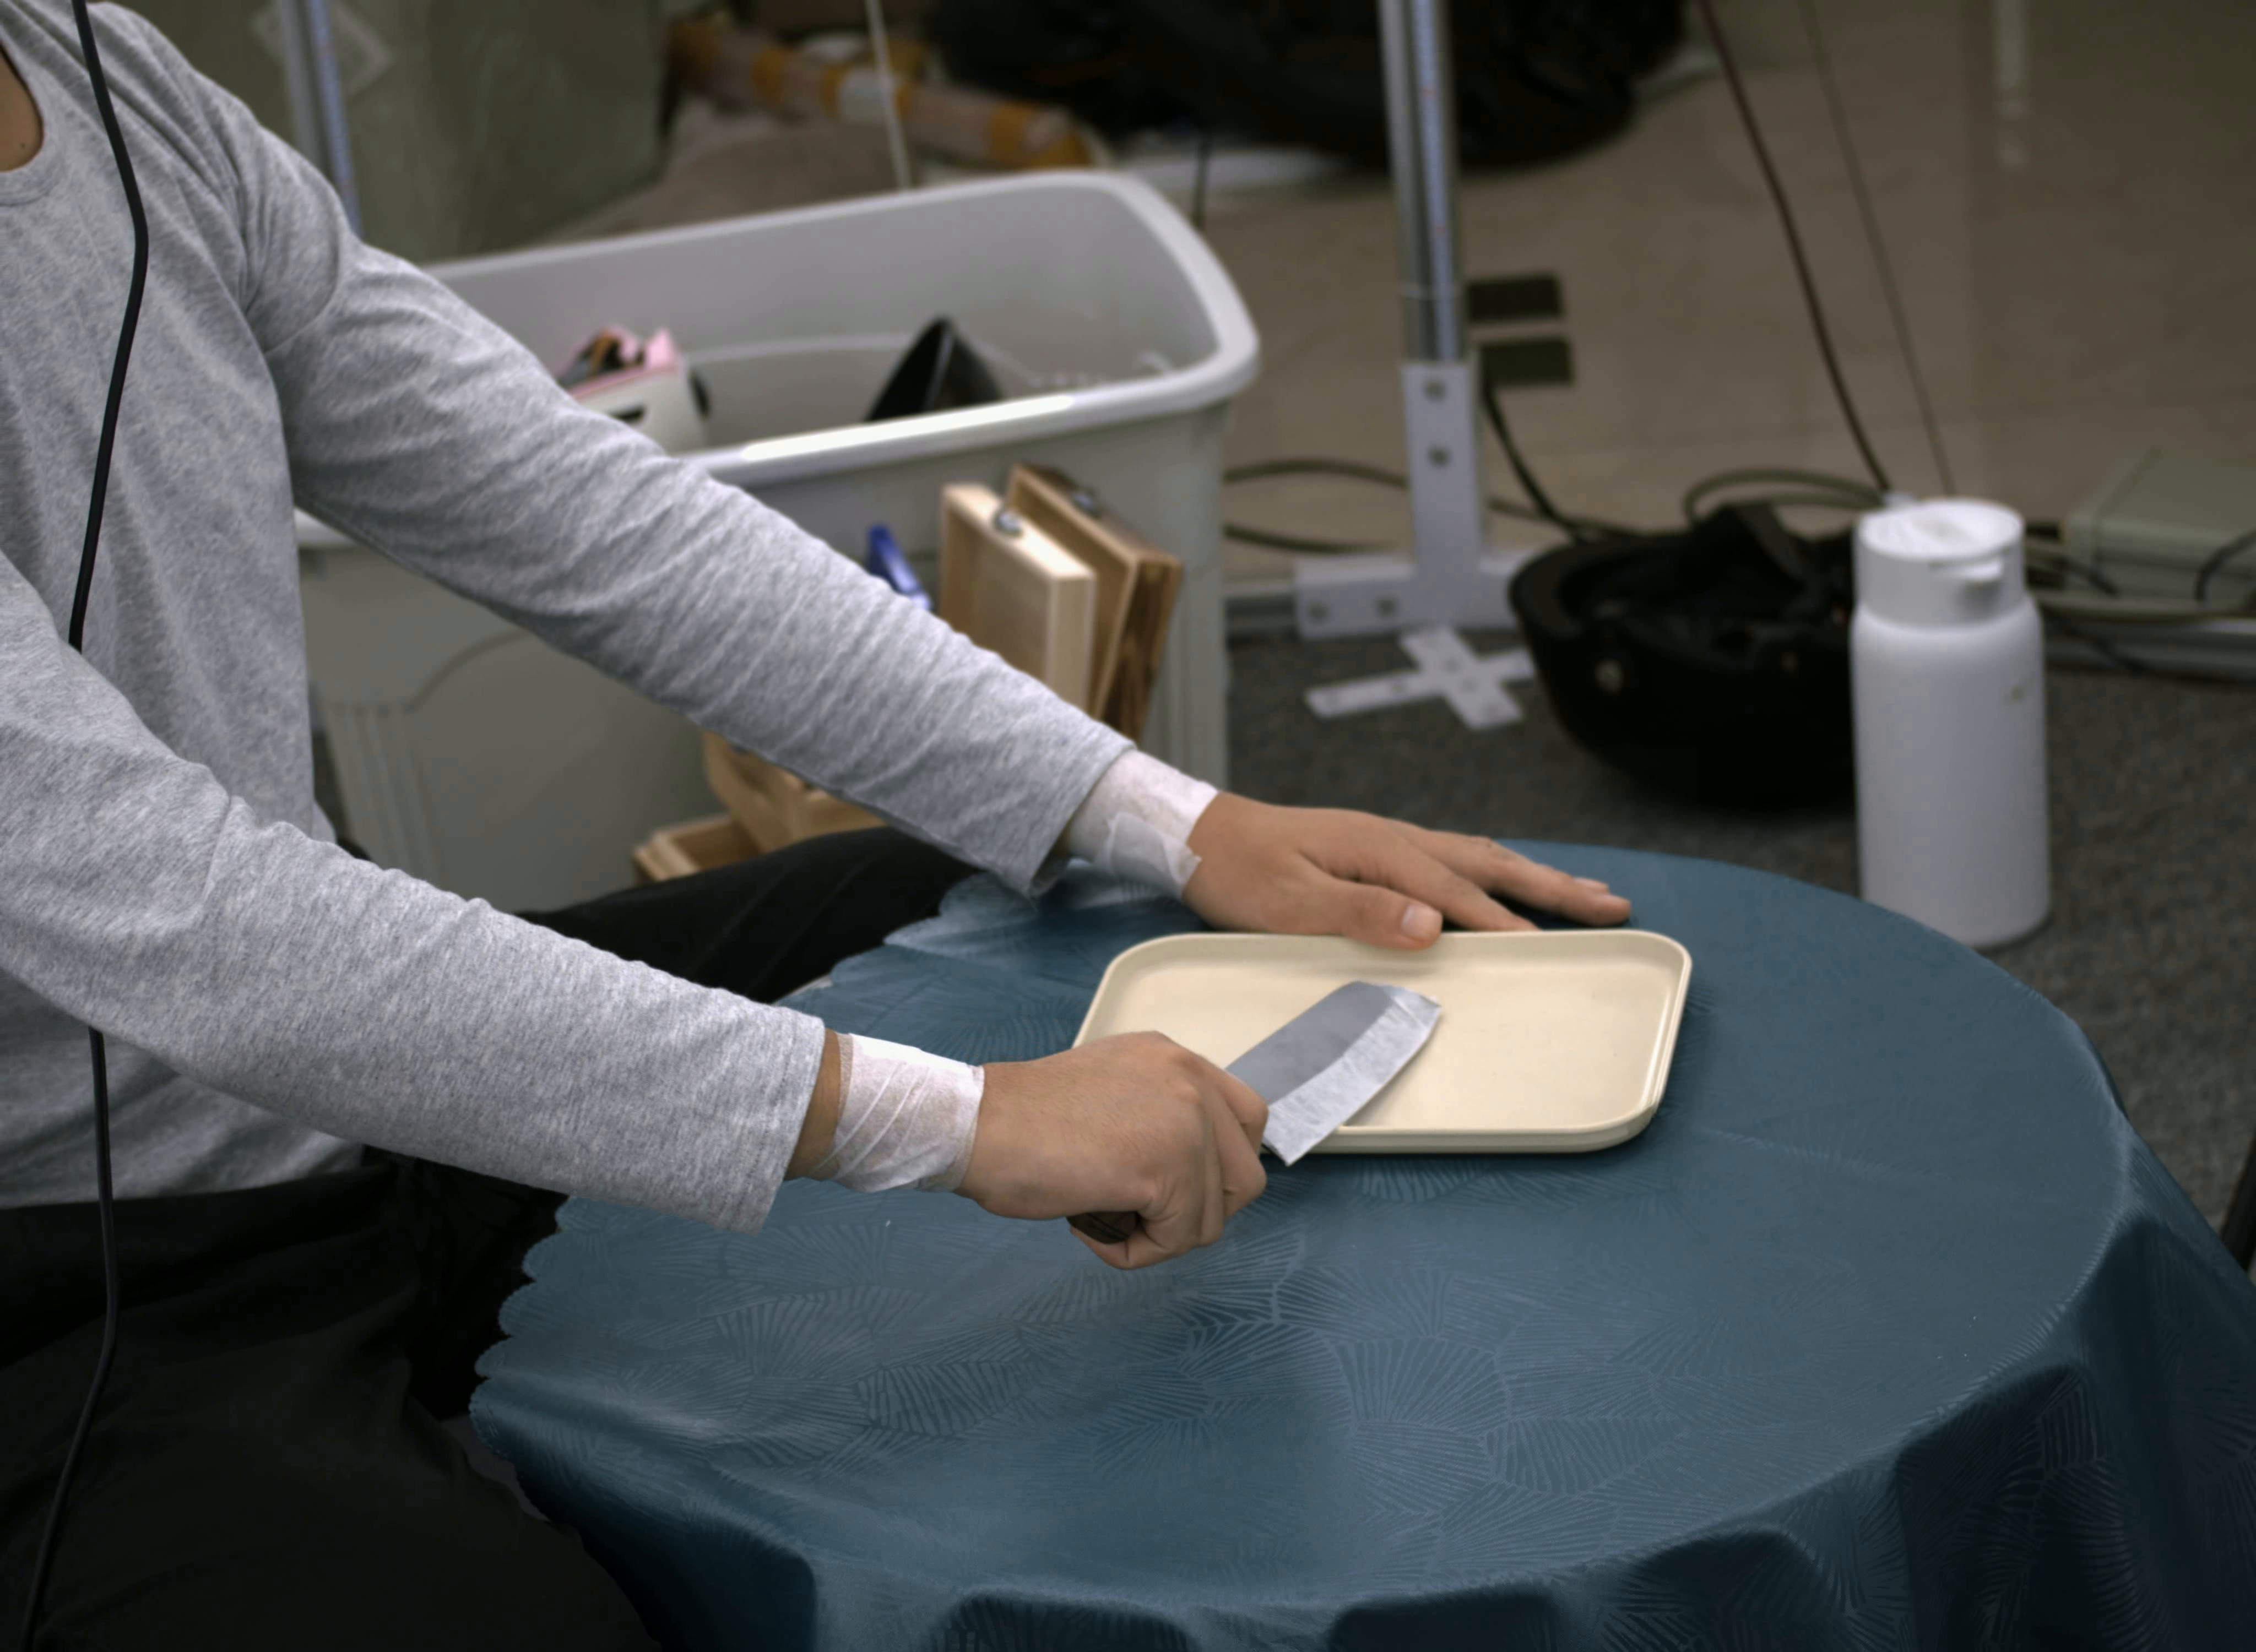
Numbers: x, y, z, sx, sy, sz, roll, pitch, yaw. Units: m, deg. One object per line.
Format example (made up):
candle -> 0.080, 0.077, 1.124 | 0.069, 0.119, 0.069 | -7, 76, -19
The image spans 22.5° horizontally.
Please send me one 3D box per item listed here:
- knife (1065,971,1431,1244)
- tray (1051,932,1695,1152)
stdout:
knife -> 0.051, 0.103, 2.131 | 0.050, 0.020, 0.287 | 49, 31, 8
tray -> 0.098, 0.086, 2.222 | 0.239, 0.018, 0.169 | -1, 25, 13
